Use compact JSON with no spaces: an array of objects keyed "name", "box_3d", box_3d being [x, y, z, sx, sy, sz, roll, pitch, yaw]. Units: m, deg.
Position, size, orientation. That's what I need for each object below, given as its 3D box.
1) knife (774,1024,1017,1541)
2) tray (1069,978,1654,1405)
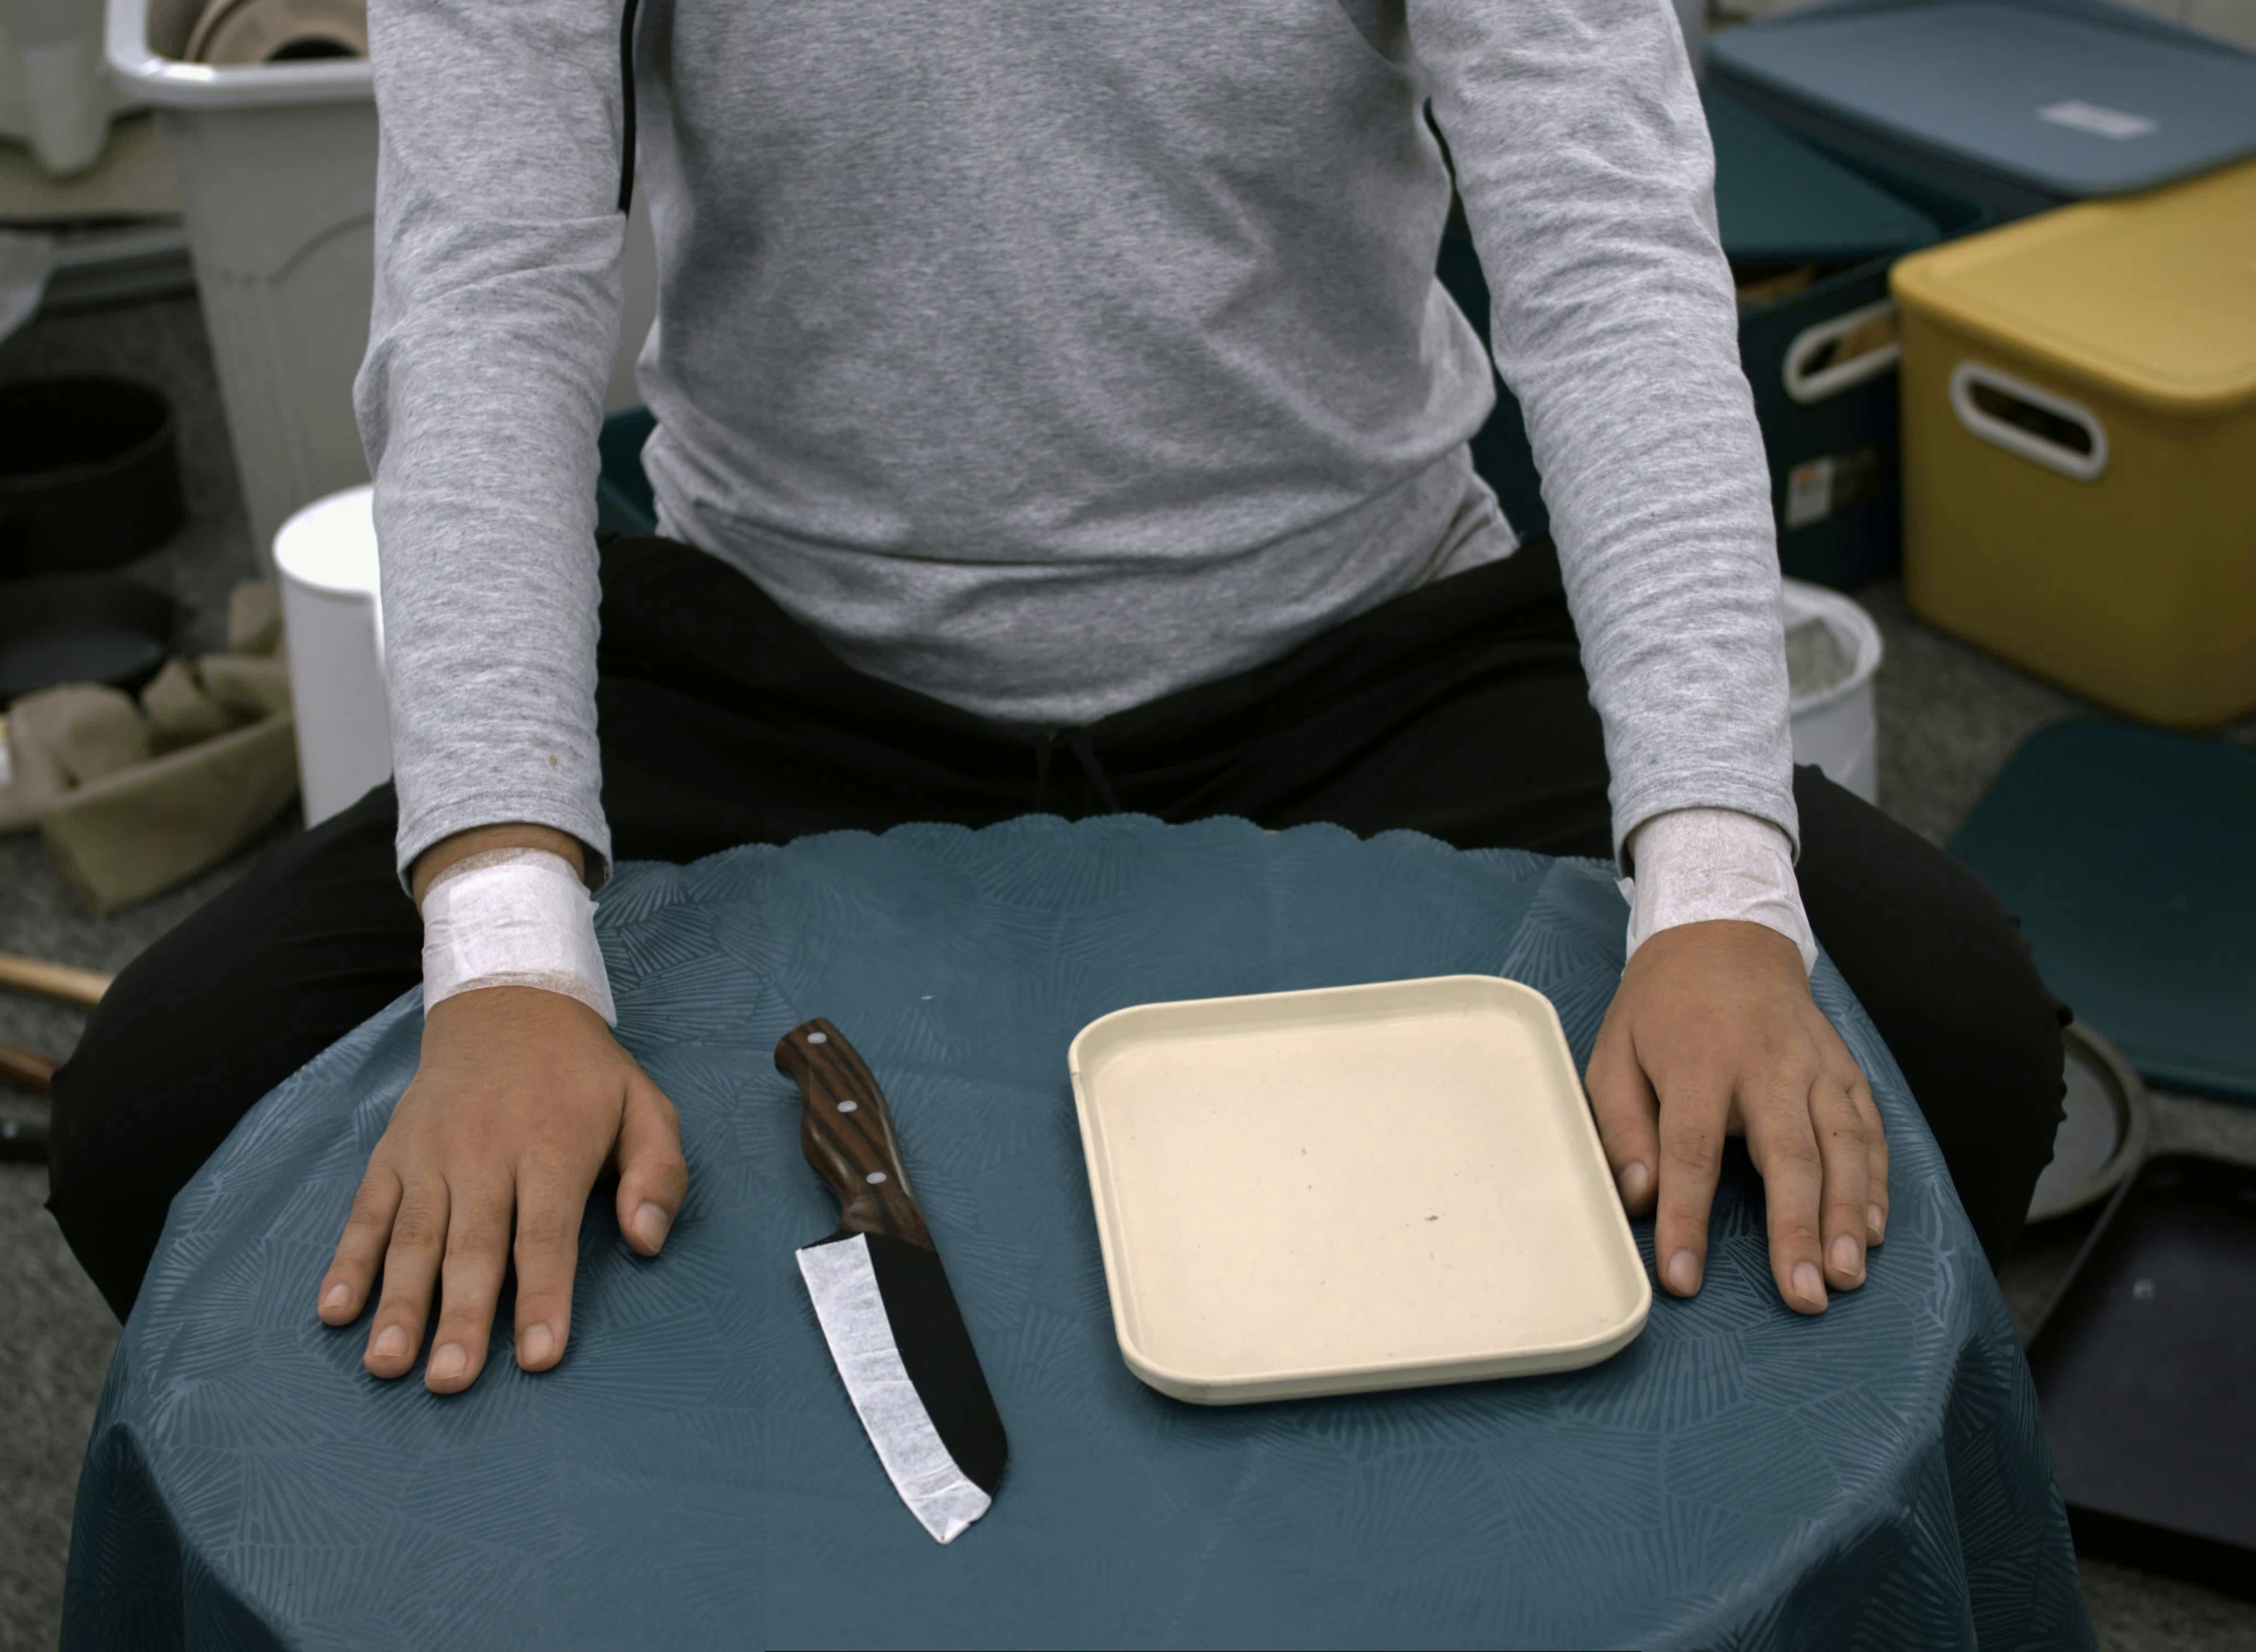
[{"name":"knife","box_3d":[-0.080,0.145,1.808,0.050,0.020,0.293,-12,31,-7]},{"name":"tray","box_3d":[0.072,0.119,1.842,0.171,0.017,0.243,-4,27,-4]}]
